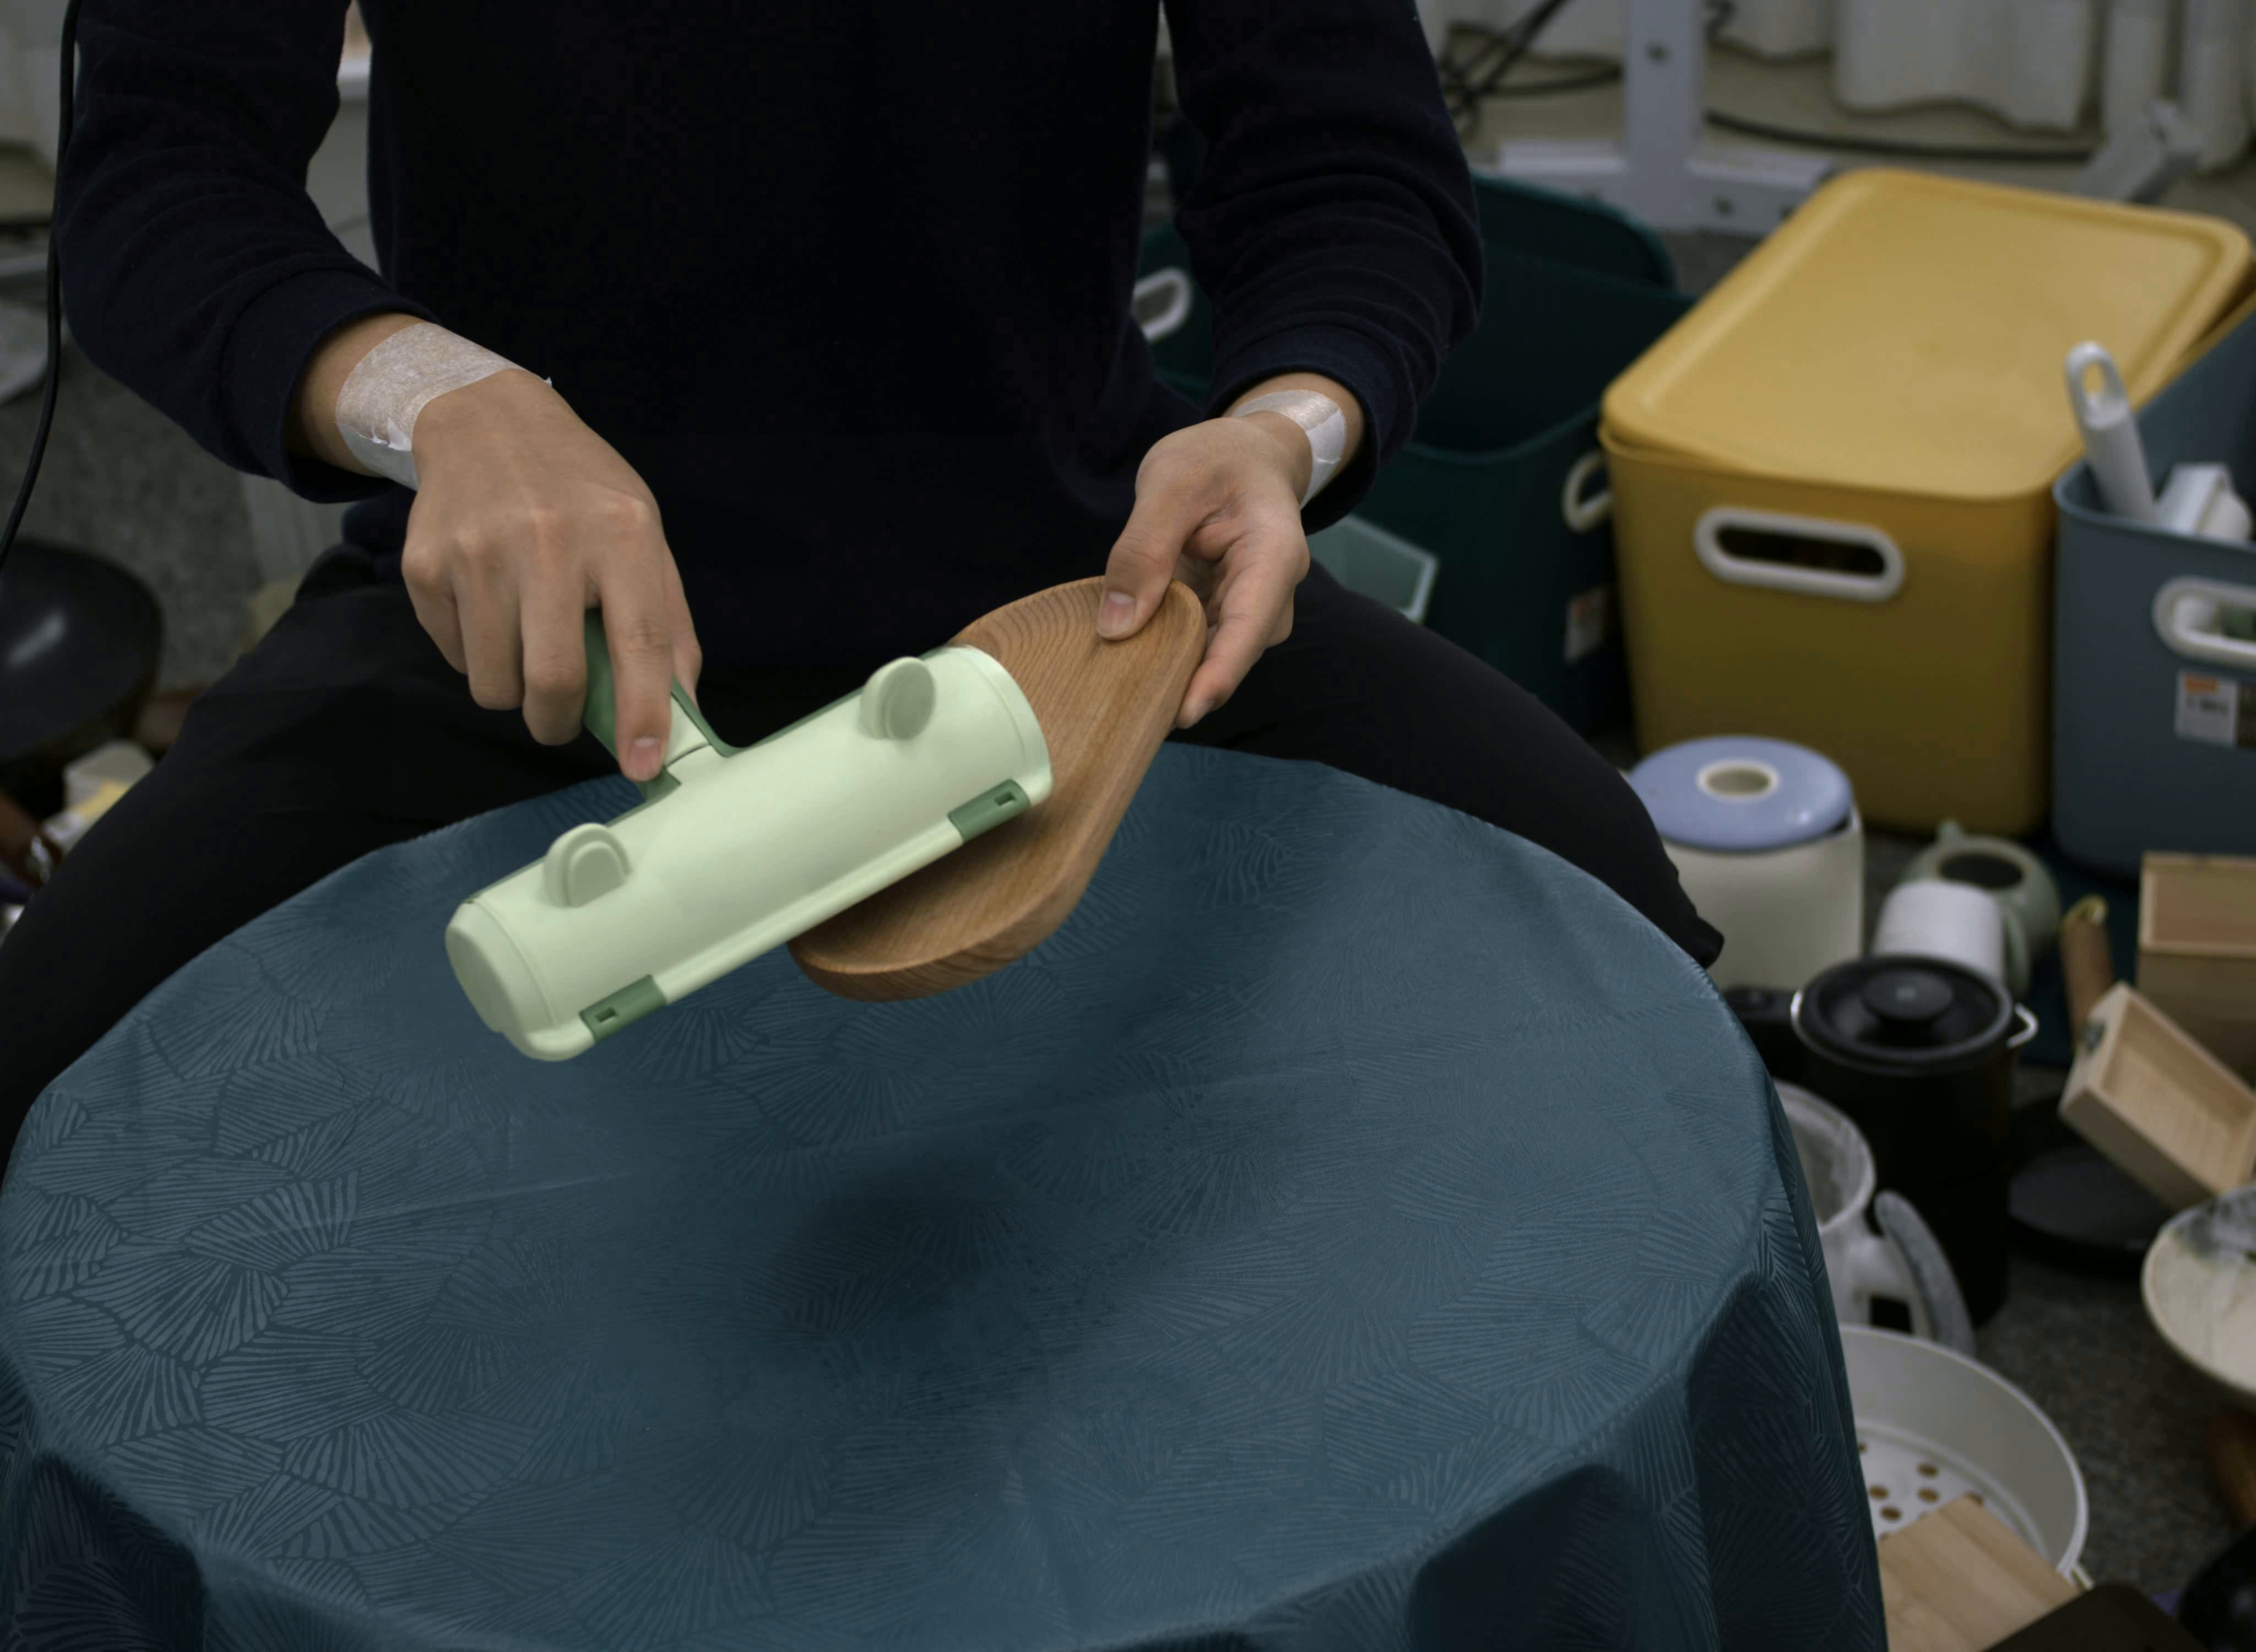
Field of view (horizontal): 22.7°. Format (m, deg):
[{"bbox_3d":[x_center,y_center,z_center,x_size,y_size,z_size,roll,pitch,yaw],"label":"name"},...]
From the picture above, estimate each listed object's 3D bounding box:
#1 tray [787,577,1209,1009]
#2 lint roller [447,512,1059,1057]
[{"bbox_3d":[-0.039,-0.013,1.803,0.100,0.020,0.236,-8,32,23],"label":"tray"},{"bbox_3d":[-0.147,-0.041,1.759,0.200,0.081,0.184,-29,71,-24],"label":"lint roller"}]
